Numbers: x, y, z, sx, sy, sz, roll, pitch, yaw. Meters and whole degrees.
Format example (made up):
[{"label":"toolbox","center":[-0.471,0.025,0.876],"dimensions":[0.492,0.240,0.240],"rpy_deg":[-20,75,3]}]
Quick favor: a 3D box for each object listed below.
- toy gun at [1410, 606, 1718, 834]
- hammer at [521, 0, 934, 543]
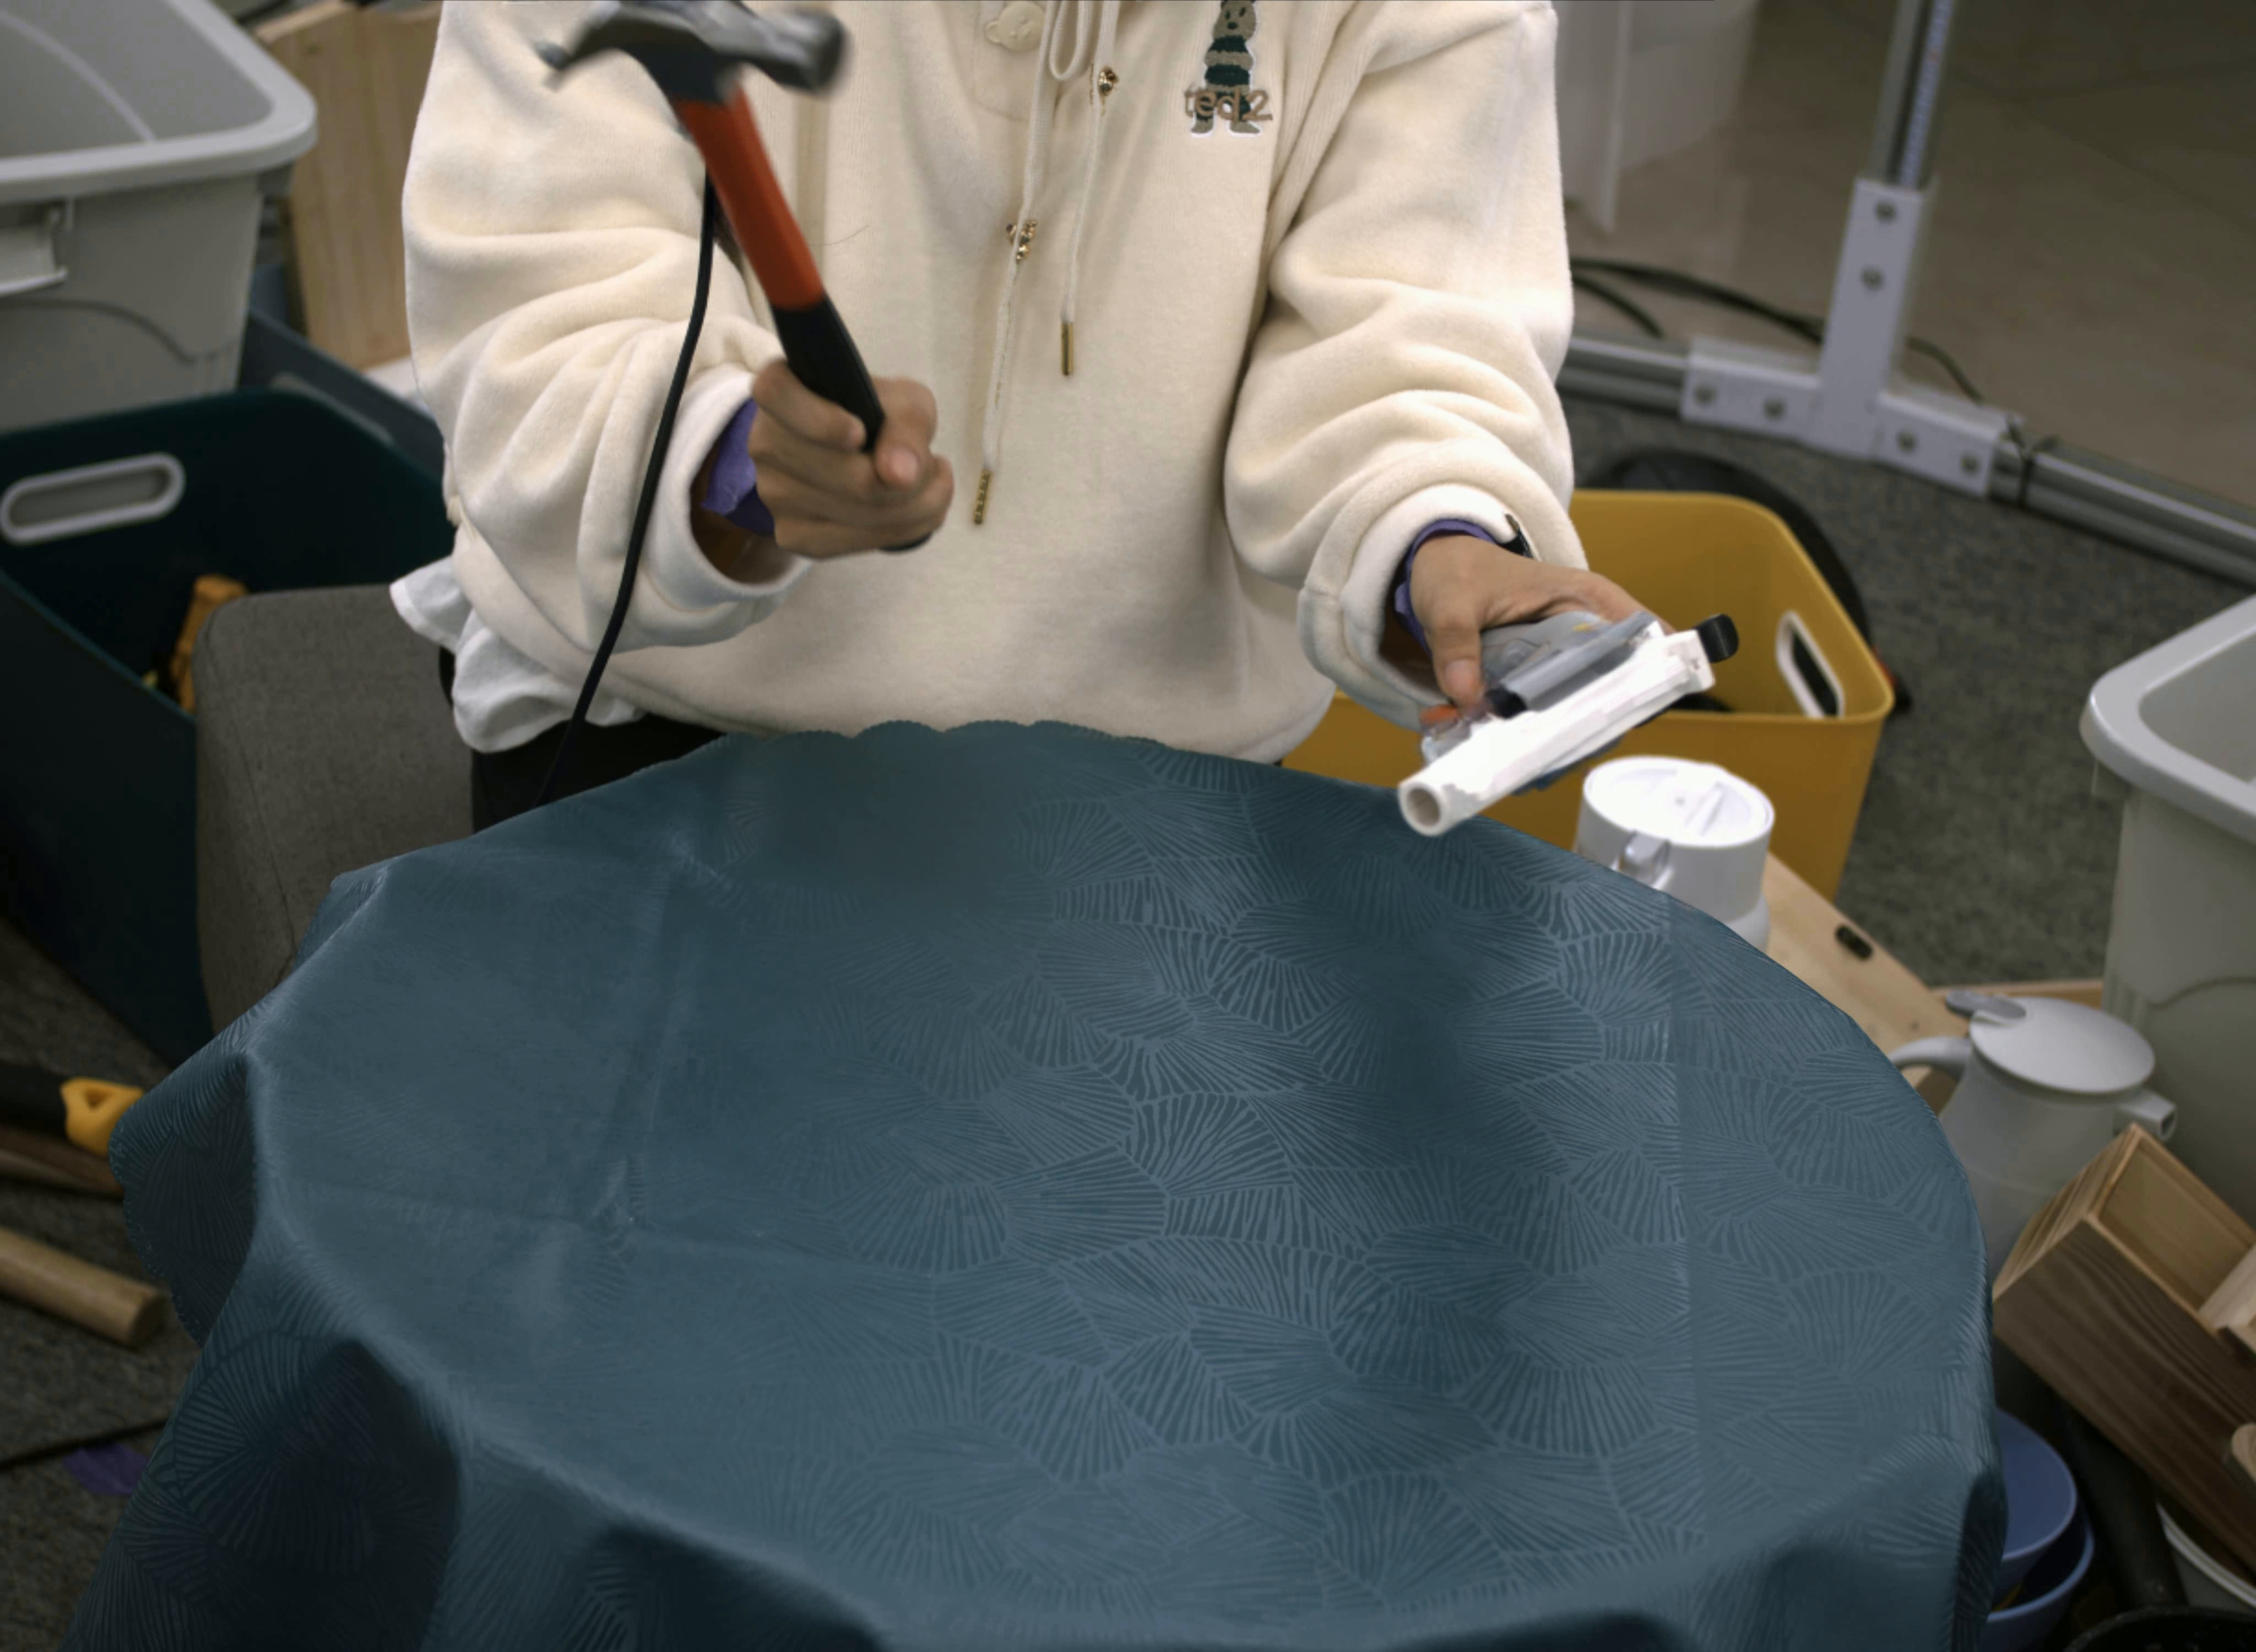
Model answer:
[{"label":"toy gun","center":[0.125,-0.037,1.784],"dimensions":[0.142,0.039,0.208],"rpy_deg":[-9,14,42]},{"label":"hammer","center":[-0.119,-0.189,1.772],"dimensions":[0.111,0.275,0.026],"rpy_deg":[4,55,21]}]
